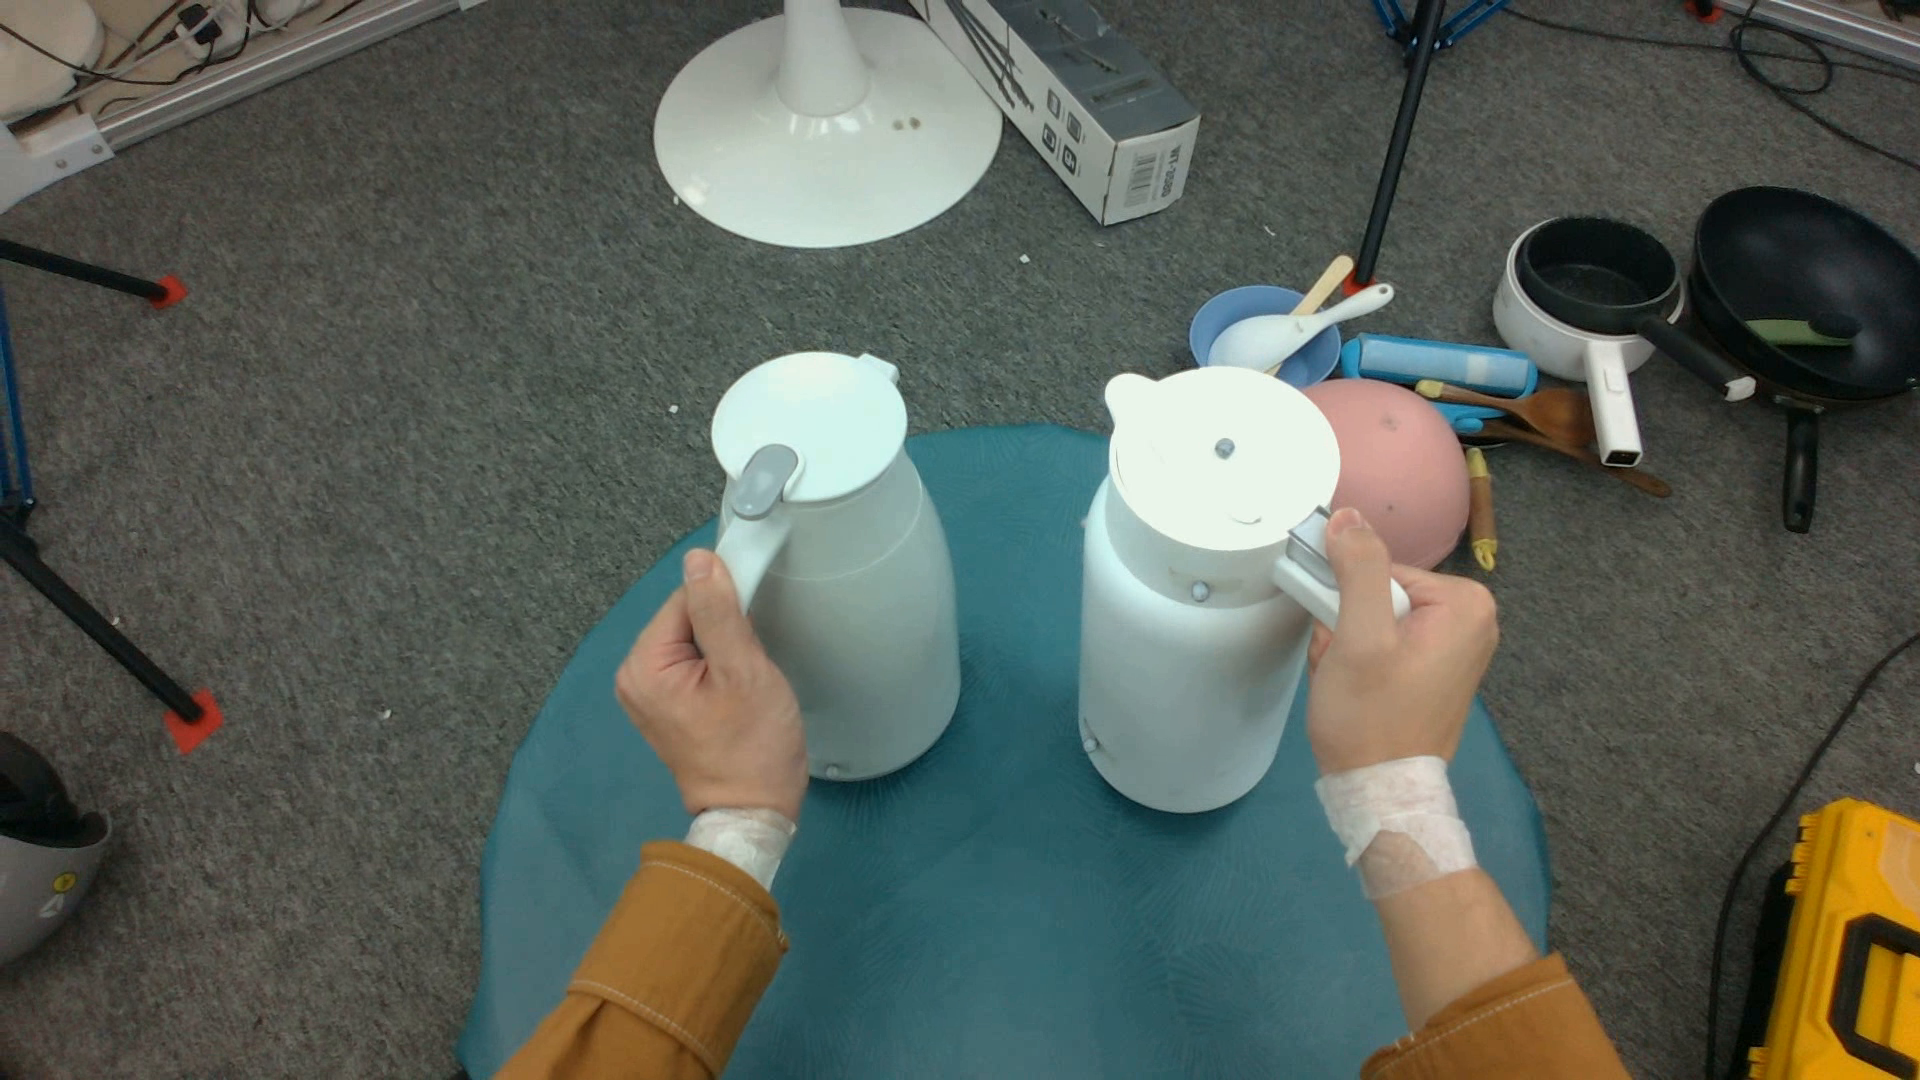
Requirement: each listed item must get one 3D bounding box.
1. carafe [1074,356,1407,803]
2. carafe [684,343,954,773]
[{"bbox_3d":[0.130,0.040,0.693,0.124,0.267,0.173,-37,62,-21],"label":"carafe"},{"bbox_3d":[-0.080,0.024,0.723,0.132,0.247,0.168,23,58,16],"label":"carafe"}]
